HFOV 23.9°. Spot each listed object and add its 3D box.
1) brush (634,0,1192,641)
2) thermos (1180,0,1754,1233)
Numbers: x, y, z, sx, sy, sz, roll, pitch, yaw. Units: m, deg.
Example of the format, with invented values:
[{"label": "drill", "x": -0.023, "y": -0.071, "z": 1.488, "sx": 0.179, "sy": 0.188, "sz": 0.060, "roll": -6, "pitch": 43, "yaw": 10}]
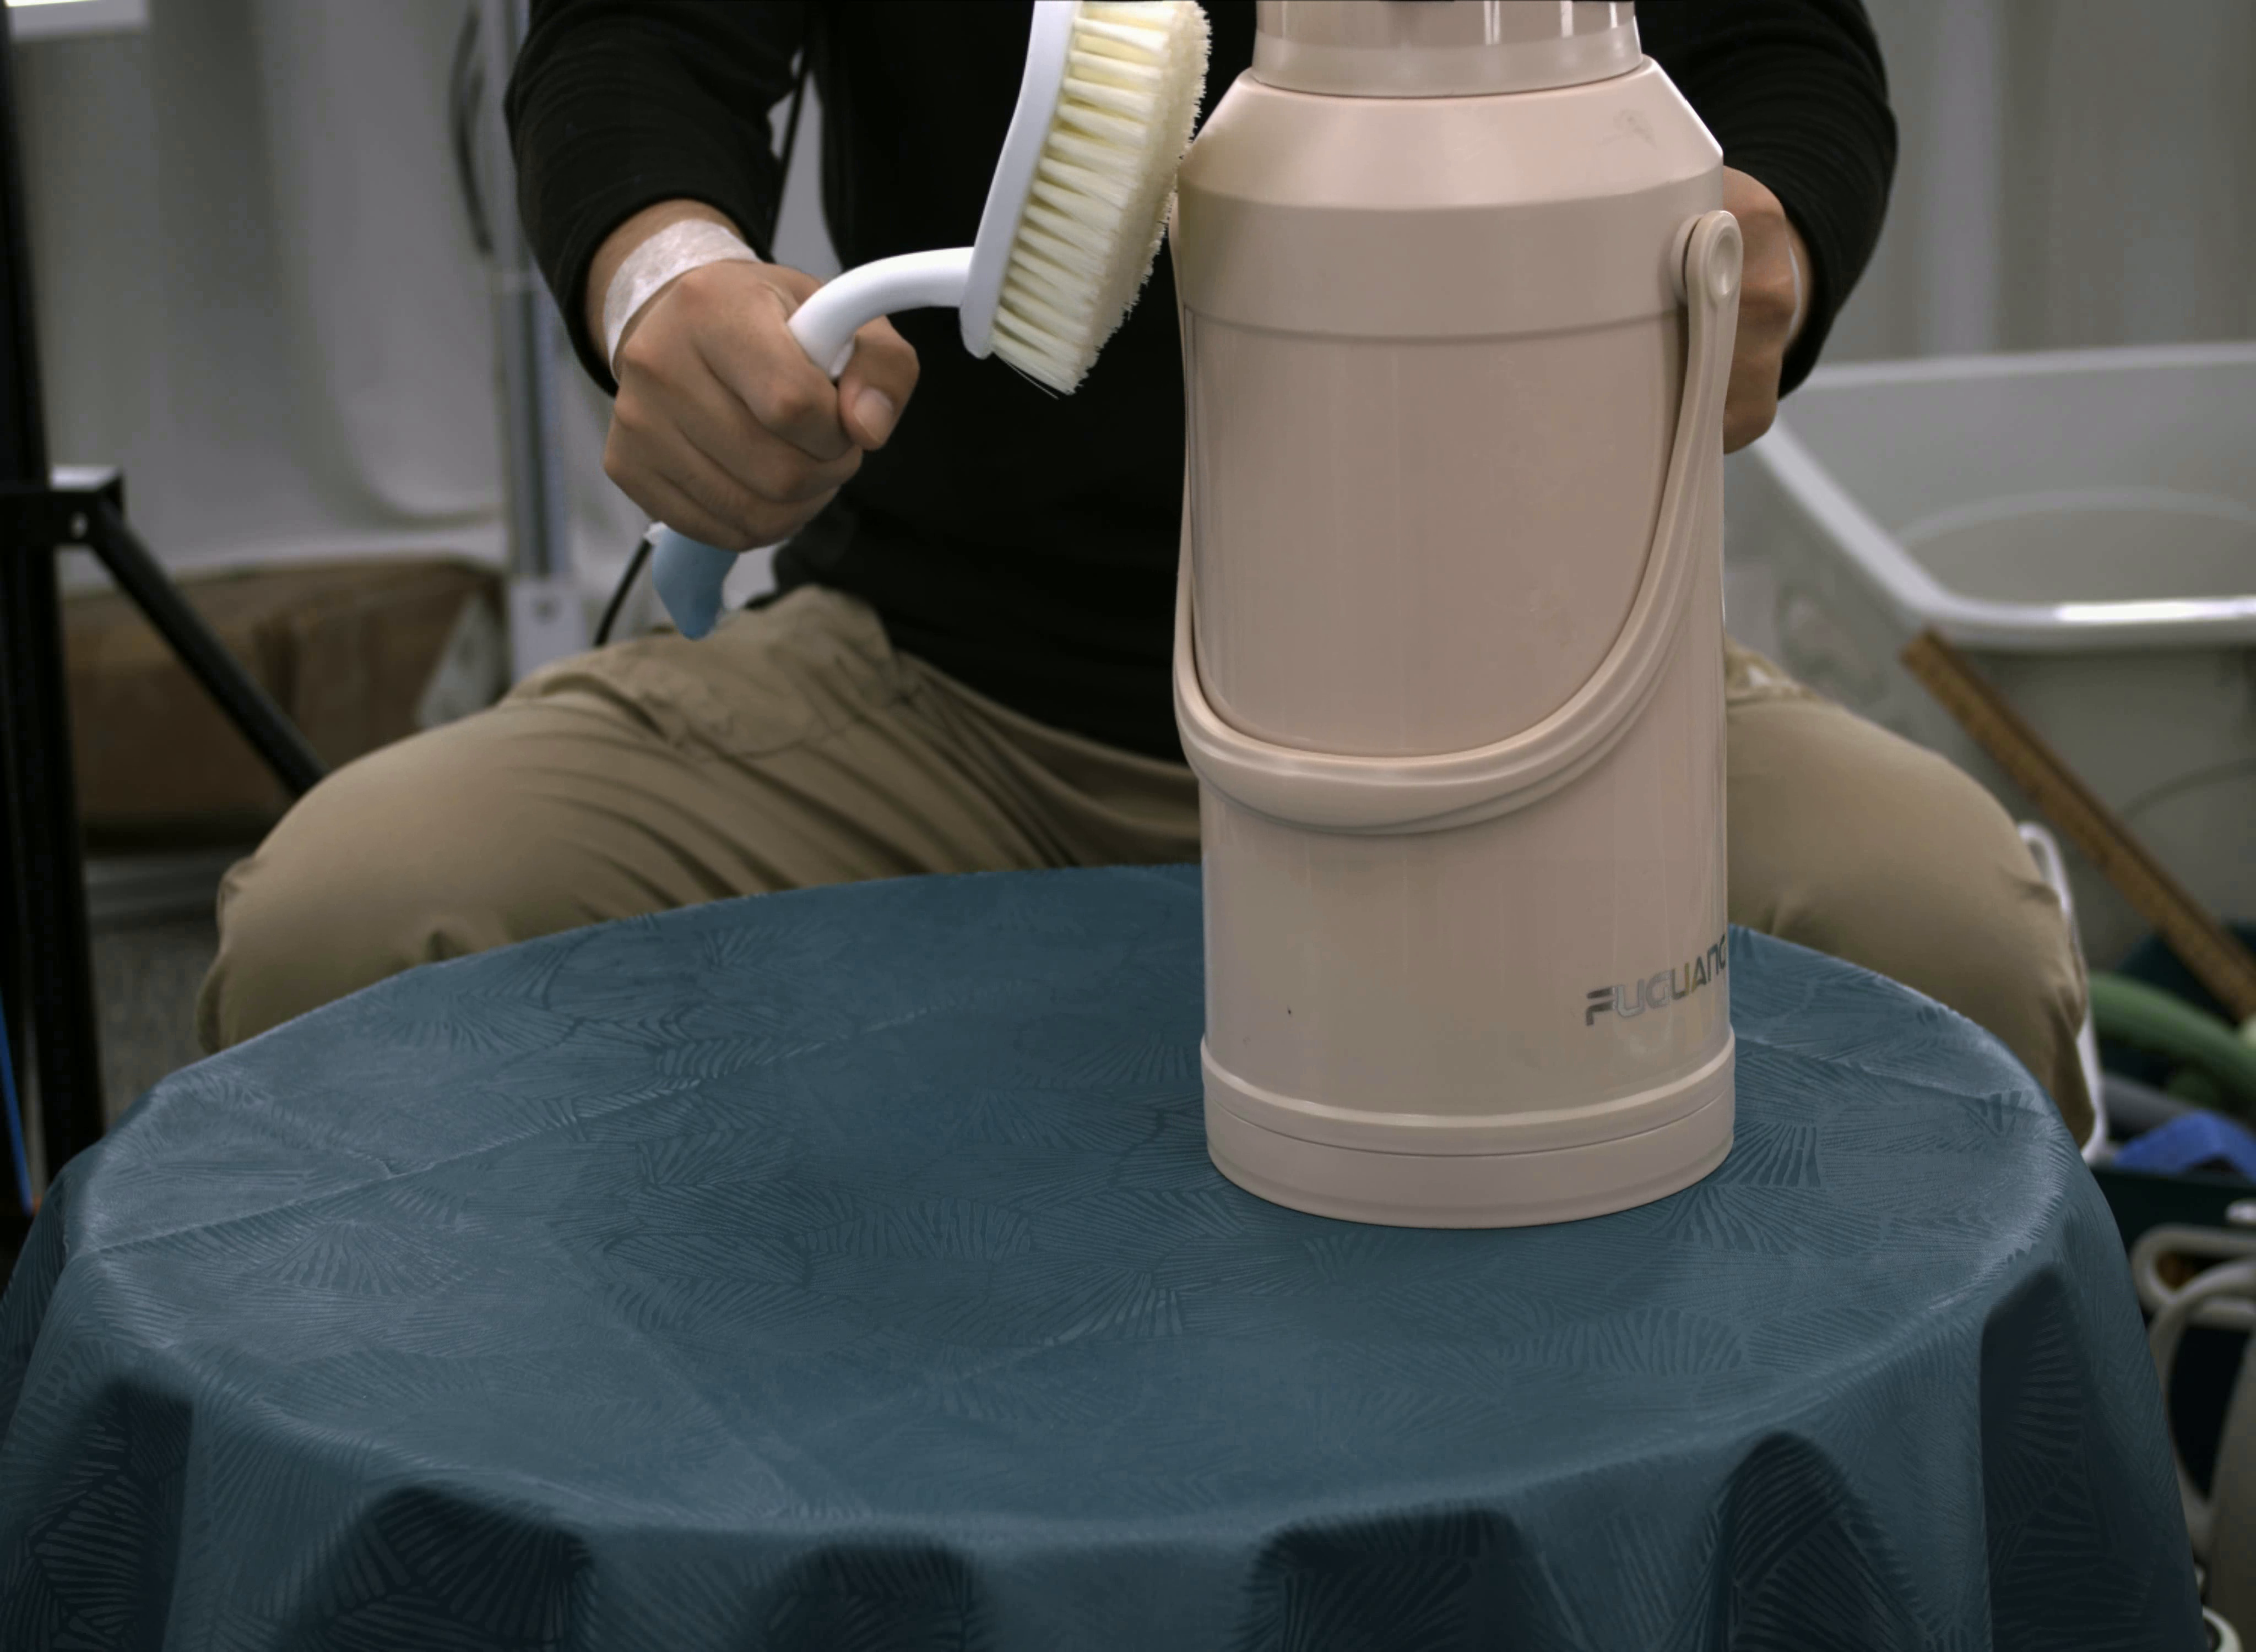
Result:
[{"label": "brush", "x": -0.052, "y": -0.135, "z": 1.577, "sx": 0.081, "sy": 0.086, "sz": 0.328, "roll": -12, "pitch": -25, "yaw": -33}, {"label": "thermos", "x": 0.106, "y": -0.100, "z": 1.547, "sx": 0.178, "sy": 0.406, "sz": 0.203, "roll": 6, "pitch": 17, "yaw": 32}]
